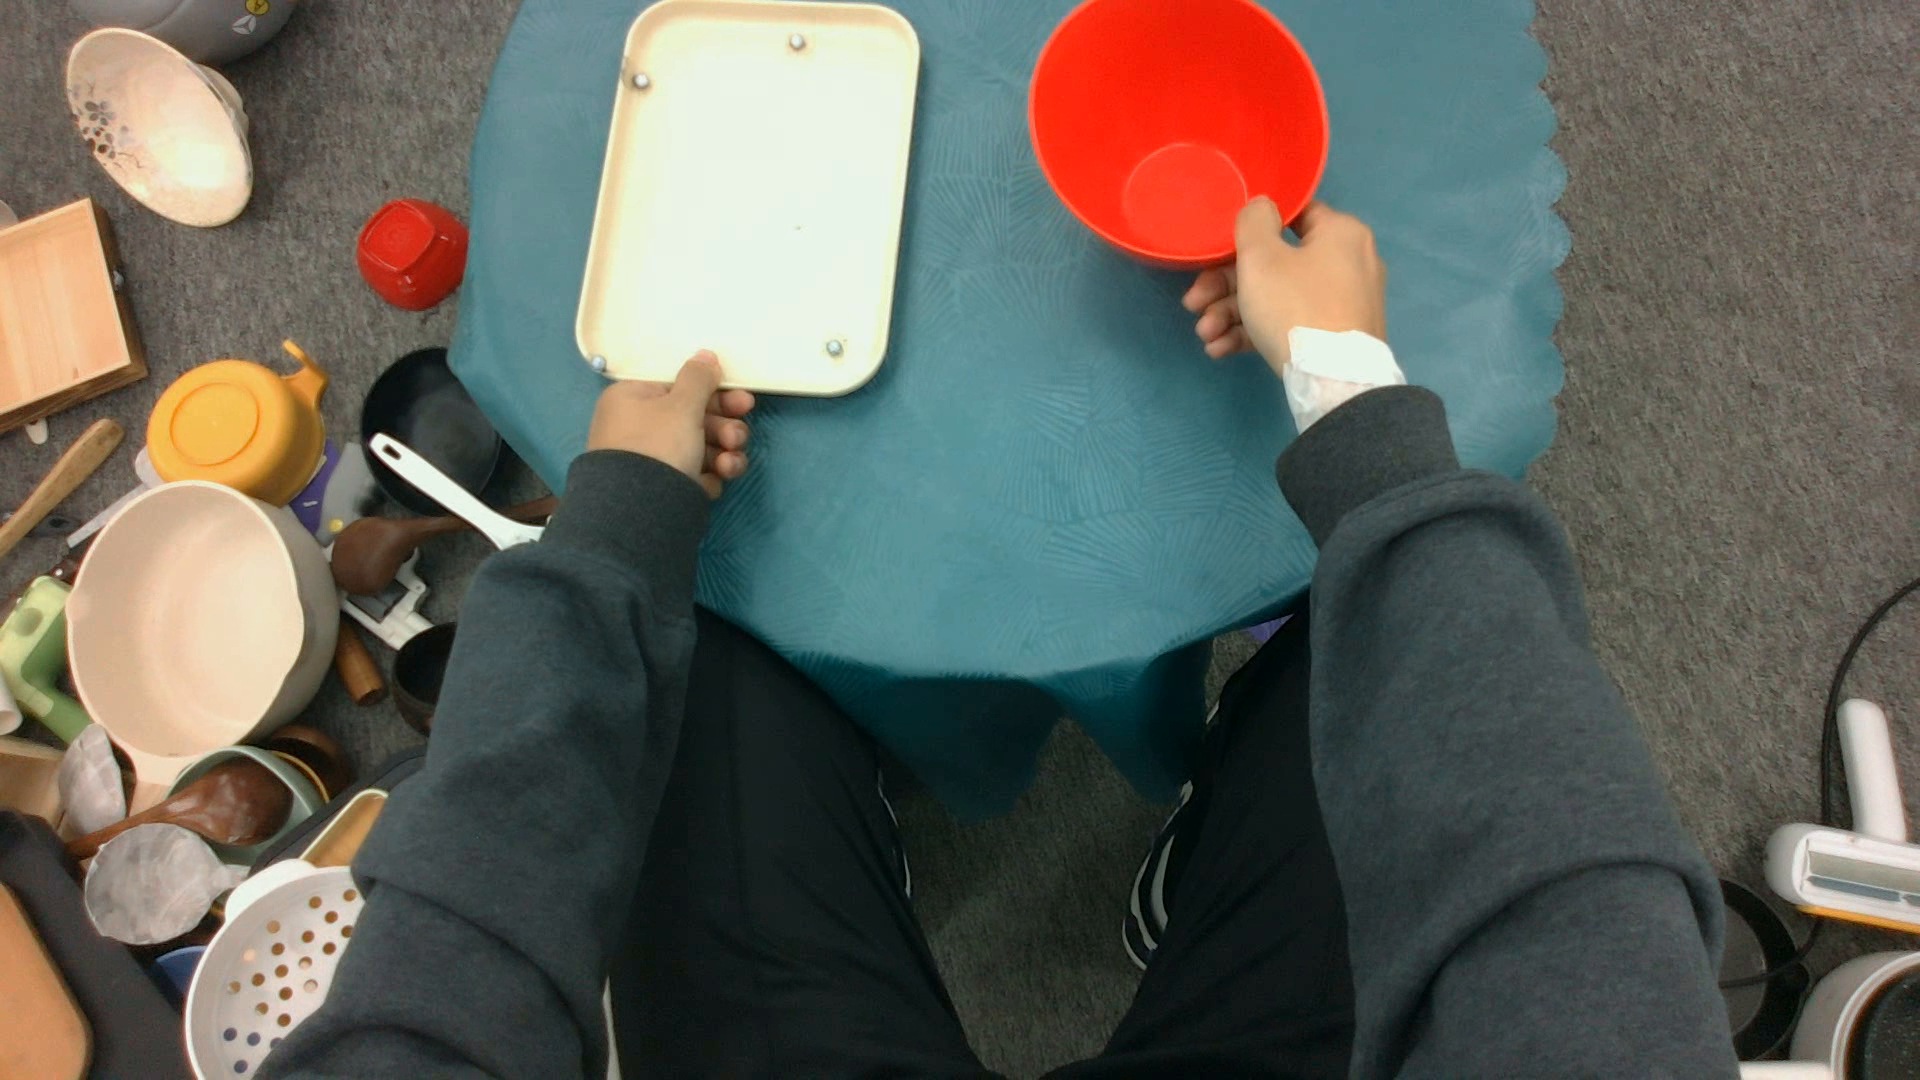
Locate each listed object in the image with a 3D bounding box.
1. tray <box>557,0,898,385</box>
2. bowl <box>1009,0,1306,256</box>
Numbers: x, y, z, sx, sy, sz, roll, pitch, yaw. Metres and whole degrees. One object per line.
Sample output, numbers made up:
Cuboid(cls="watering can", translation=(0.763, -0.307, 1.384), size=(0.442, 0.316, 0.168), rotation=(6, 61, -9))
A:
Cuboid(cls="tray", translation=(-0.126, -0.199, 0.768), size=(0.171, 0.017, 0.240), rotation=(4, 74, 3))
Cuboid(cls="bowl", translation=(0.101, -0.206, 0.717), size=(0.148, 0.104, 0.148), rotation=(-1, 77, 3))
